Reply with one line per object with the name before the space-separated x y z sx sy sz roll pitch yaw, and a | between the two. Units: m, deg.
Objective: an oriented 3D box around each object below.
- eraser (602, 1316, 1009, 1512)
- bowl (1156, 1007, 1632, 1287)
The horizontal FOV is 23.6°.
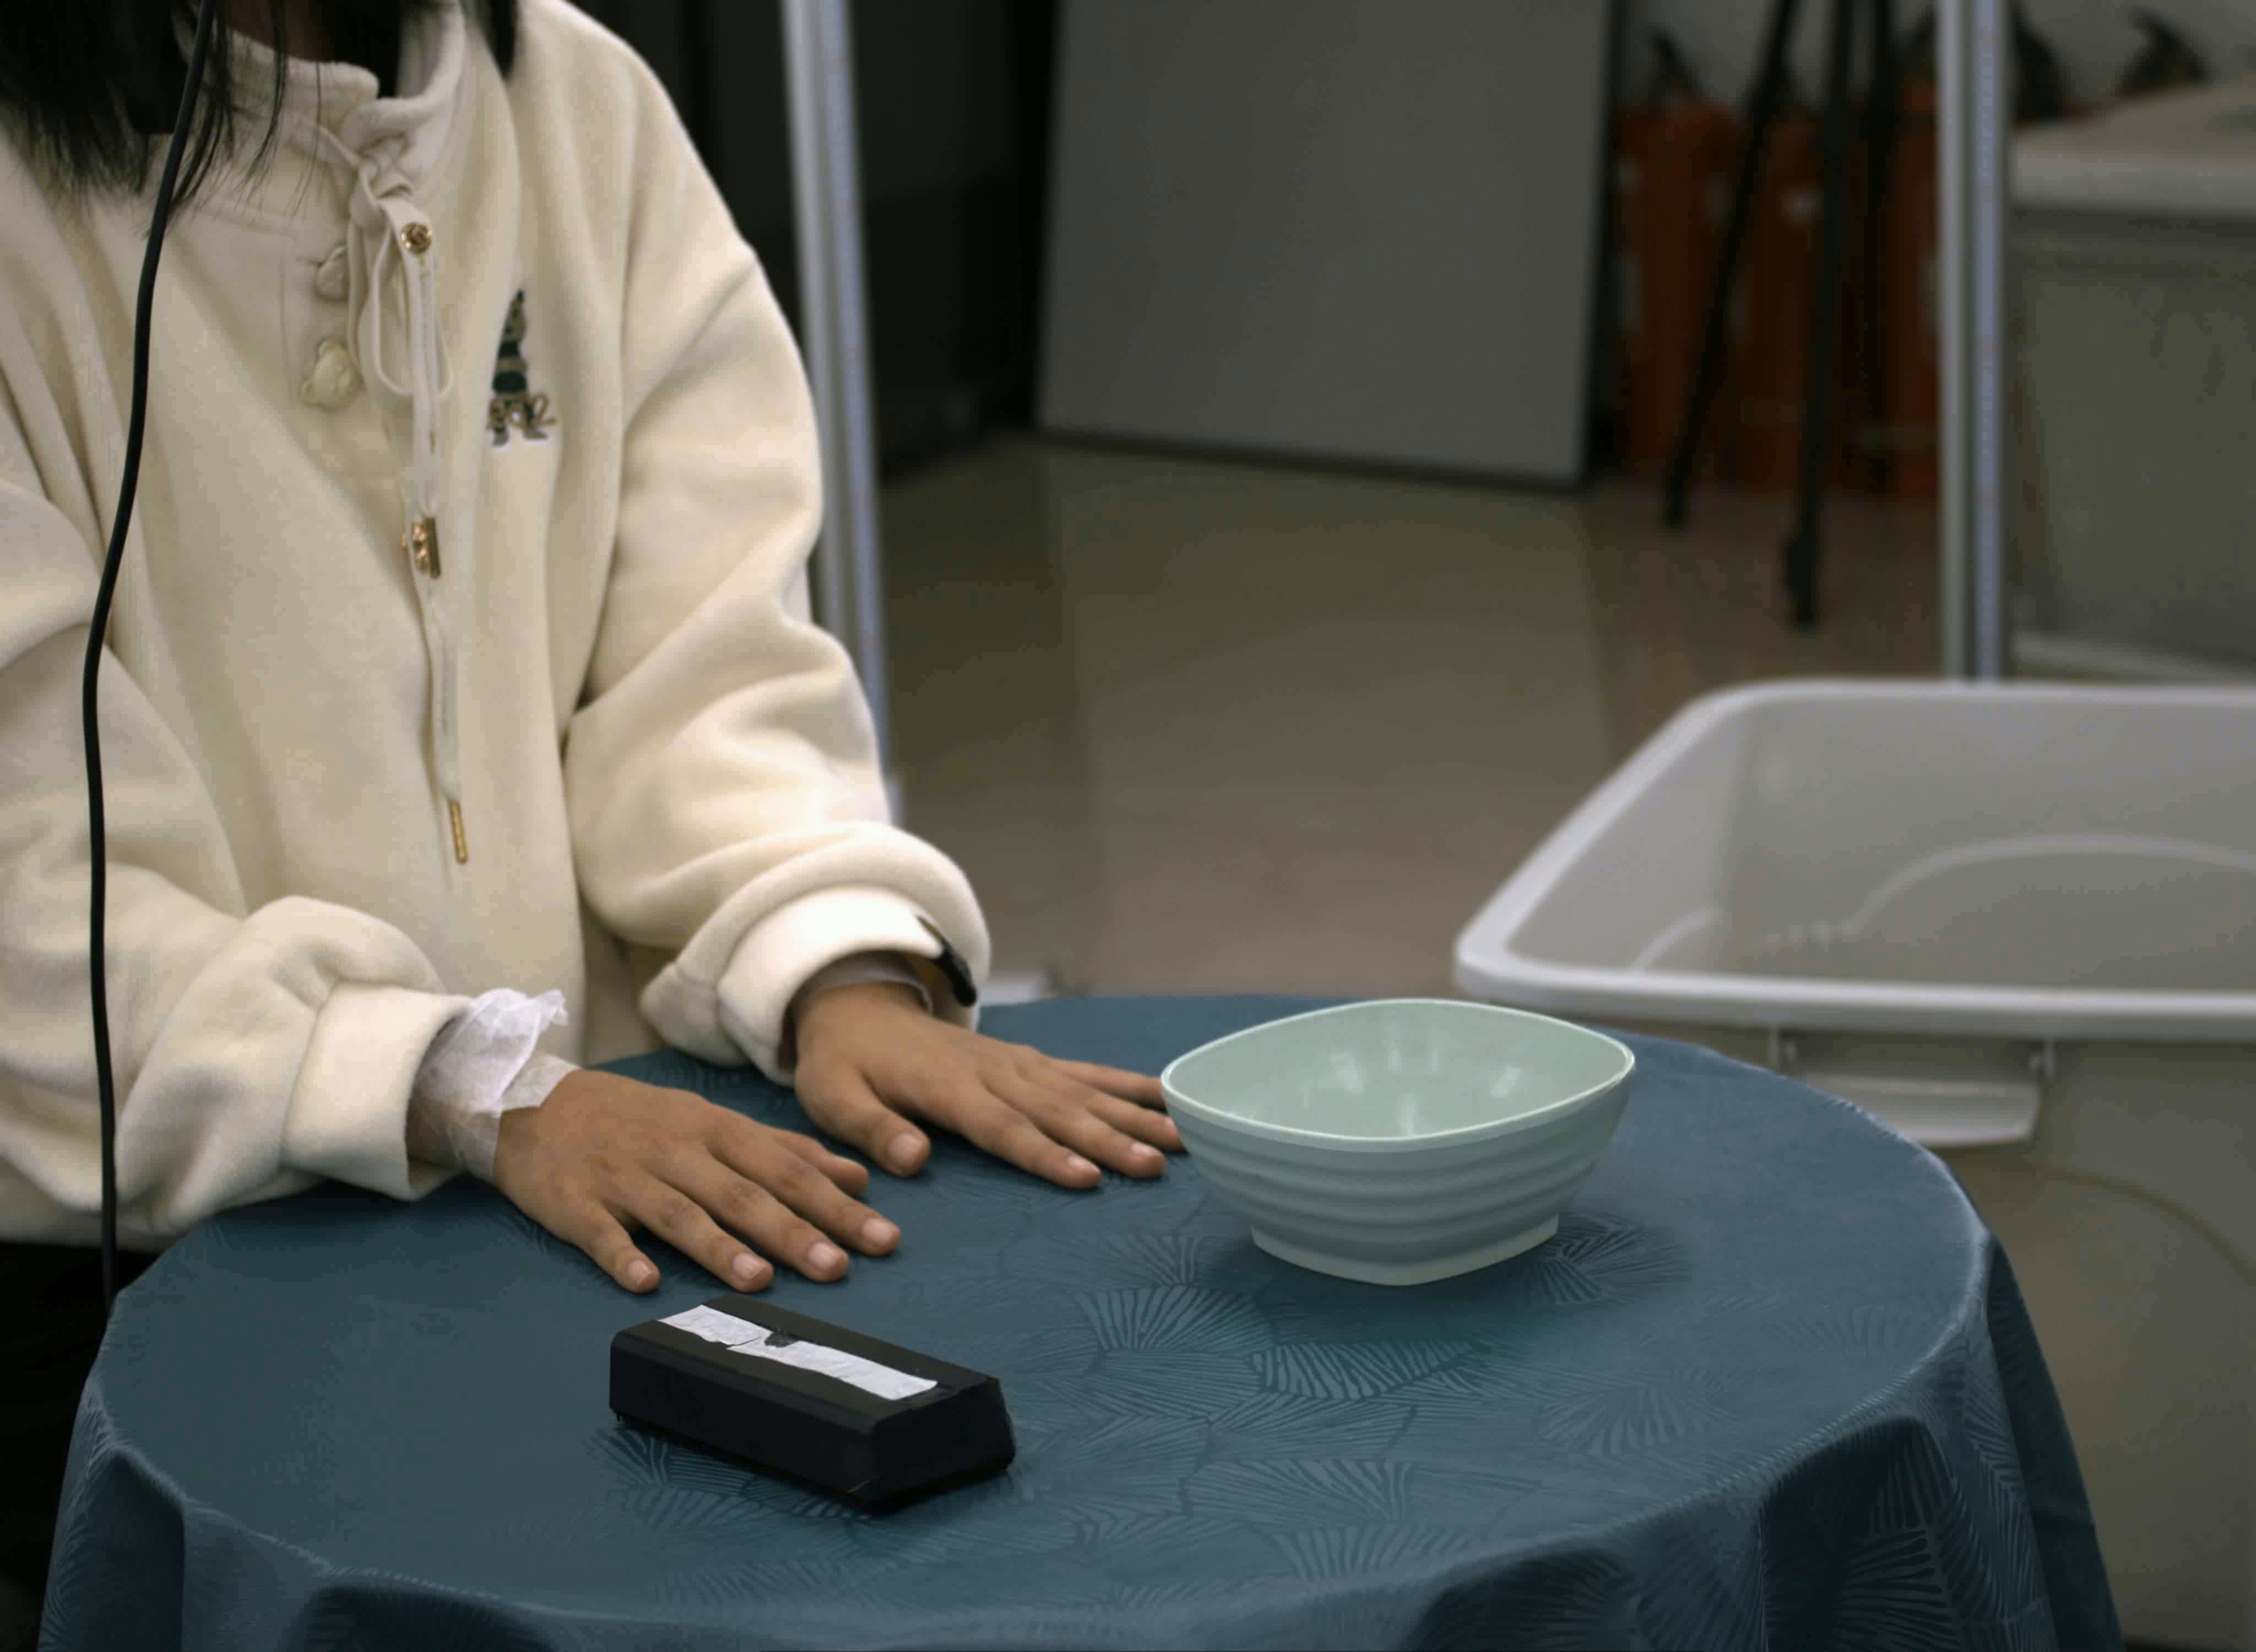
eraser | -0.092 0.168 1.552 0.052 0.031 0.127 -14 14 -41
bowl | 0.084 0.103 1.698 0.149 0.059 0.151 -2 12 -1
